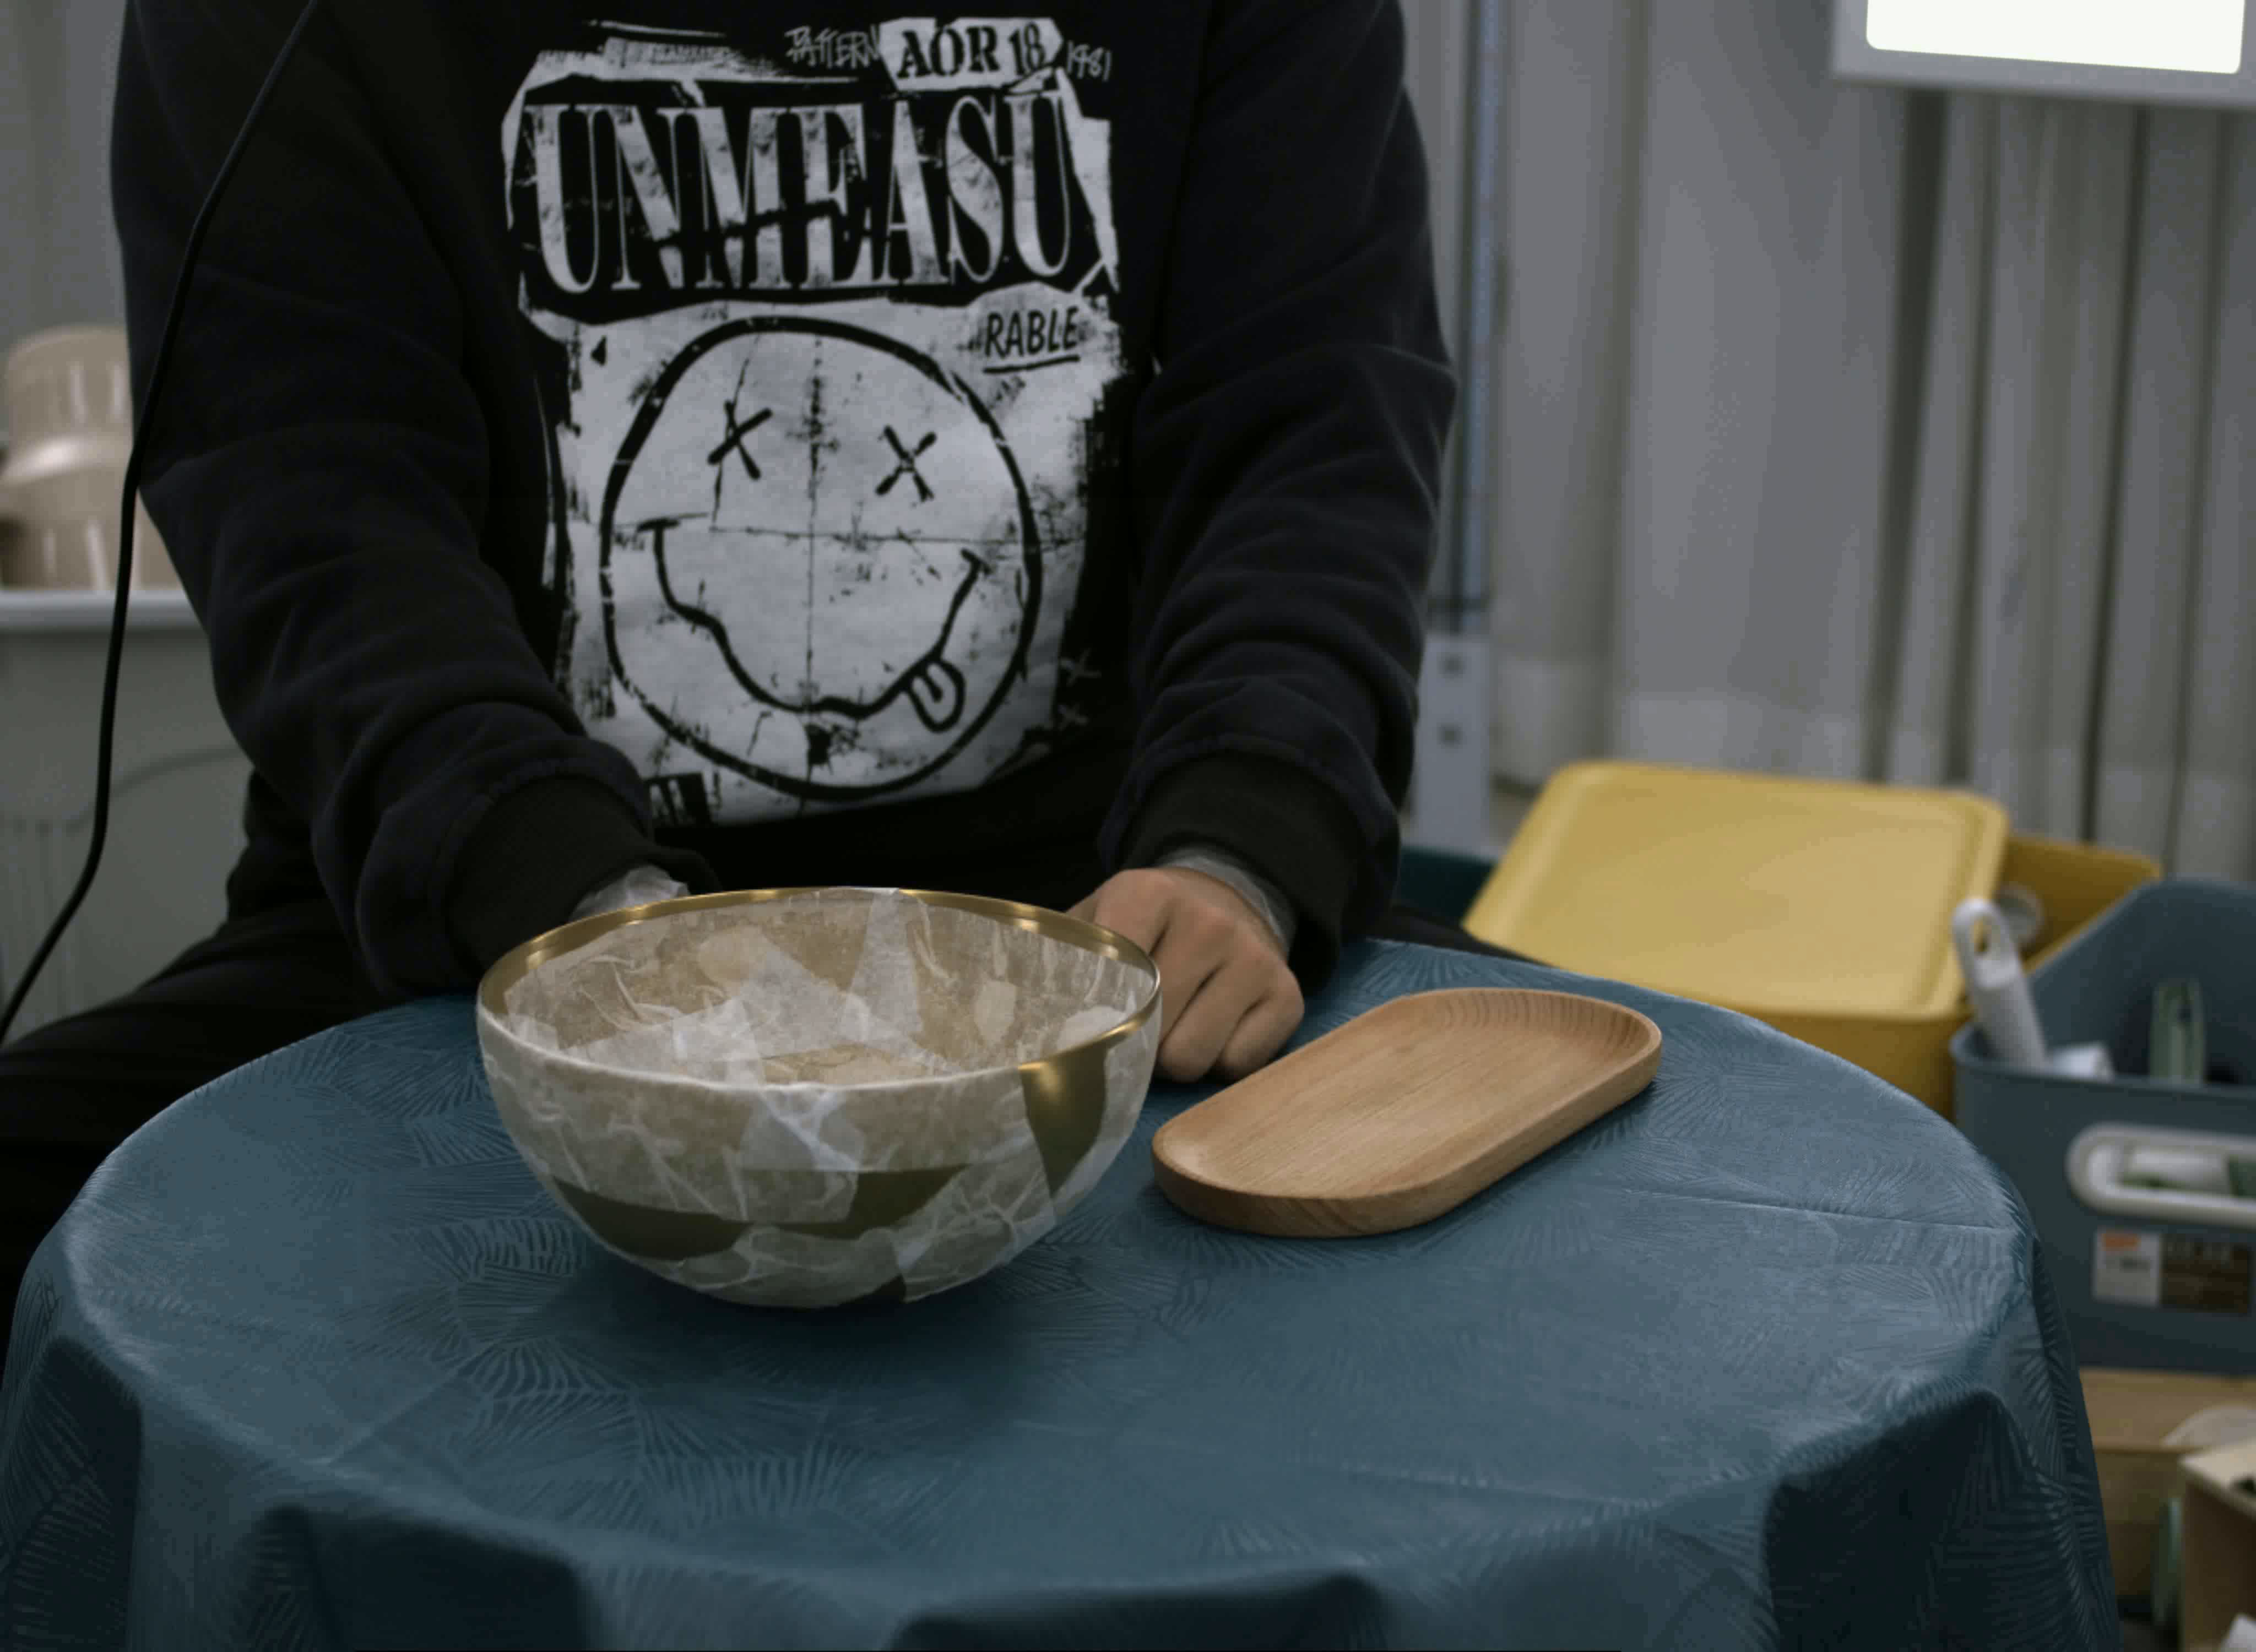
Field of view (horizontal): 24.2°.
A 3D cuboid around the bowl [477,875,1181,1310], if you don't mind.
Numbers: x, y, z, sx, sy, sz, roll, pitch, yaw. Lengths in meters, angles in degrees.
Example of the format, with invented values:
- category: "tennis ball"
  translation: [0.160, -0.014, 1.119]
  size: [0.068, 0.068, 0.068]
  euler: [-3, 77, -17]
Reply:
- category: "bowl"
  translation: [-0.086, 0.086, 1.545]
  size: [0.214, 0.095, 0.213]
  euler: [0, 16, 1]

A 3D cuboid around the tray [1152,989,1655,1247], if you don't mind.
- category: "tray"
  translation: [0.090, 0.091, 1.679]
  size: [0.100, 0.020, 0.232]
  euler: [7, 19, 29]
